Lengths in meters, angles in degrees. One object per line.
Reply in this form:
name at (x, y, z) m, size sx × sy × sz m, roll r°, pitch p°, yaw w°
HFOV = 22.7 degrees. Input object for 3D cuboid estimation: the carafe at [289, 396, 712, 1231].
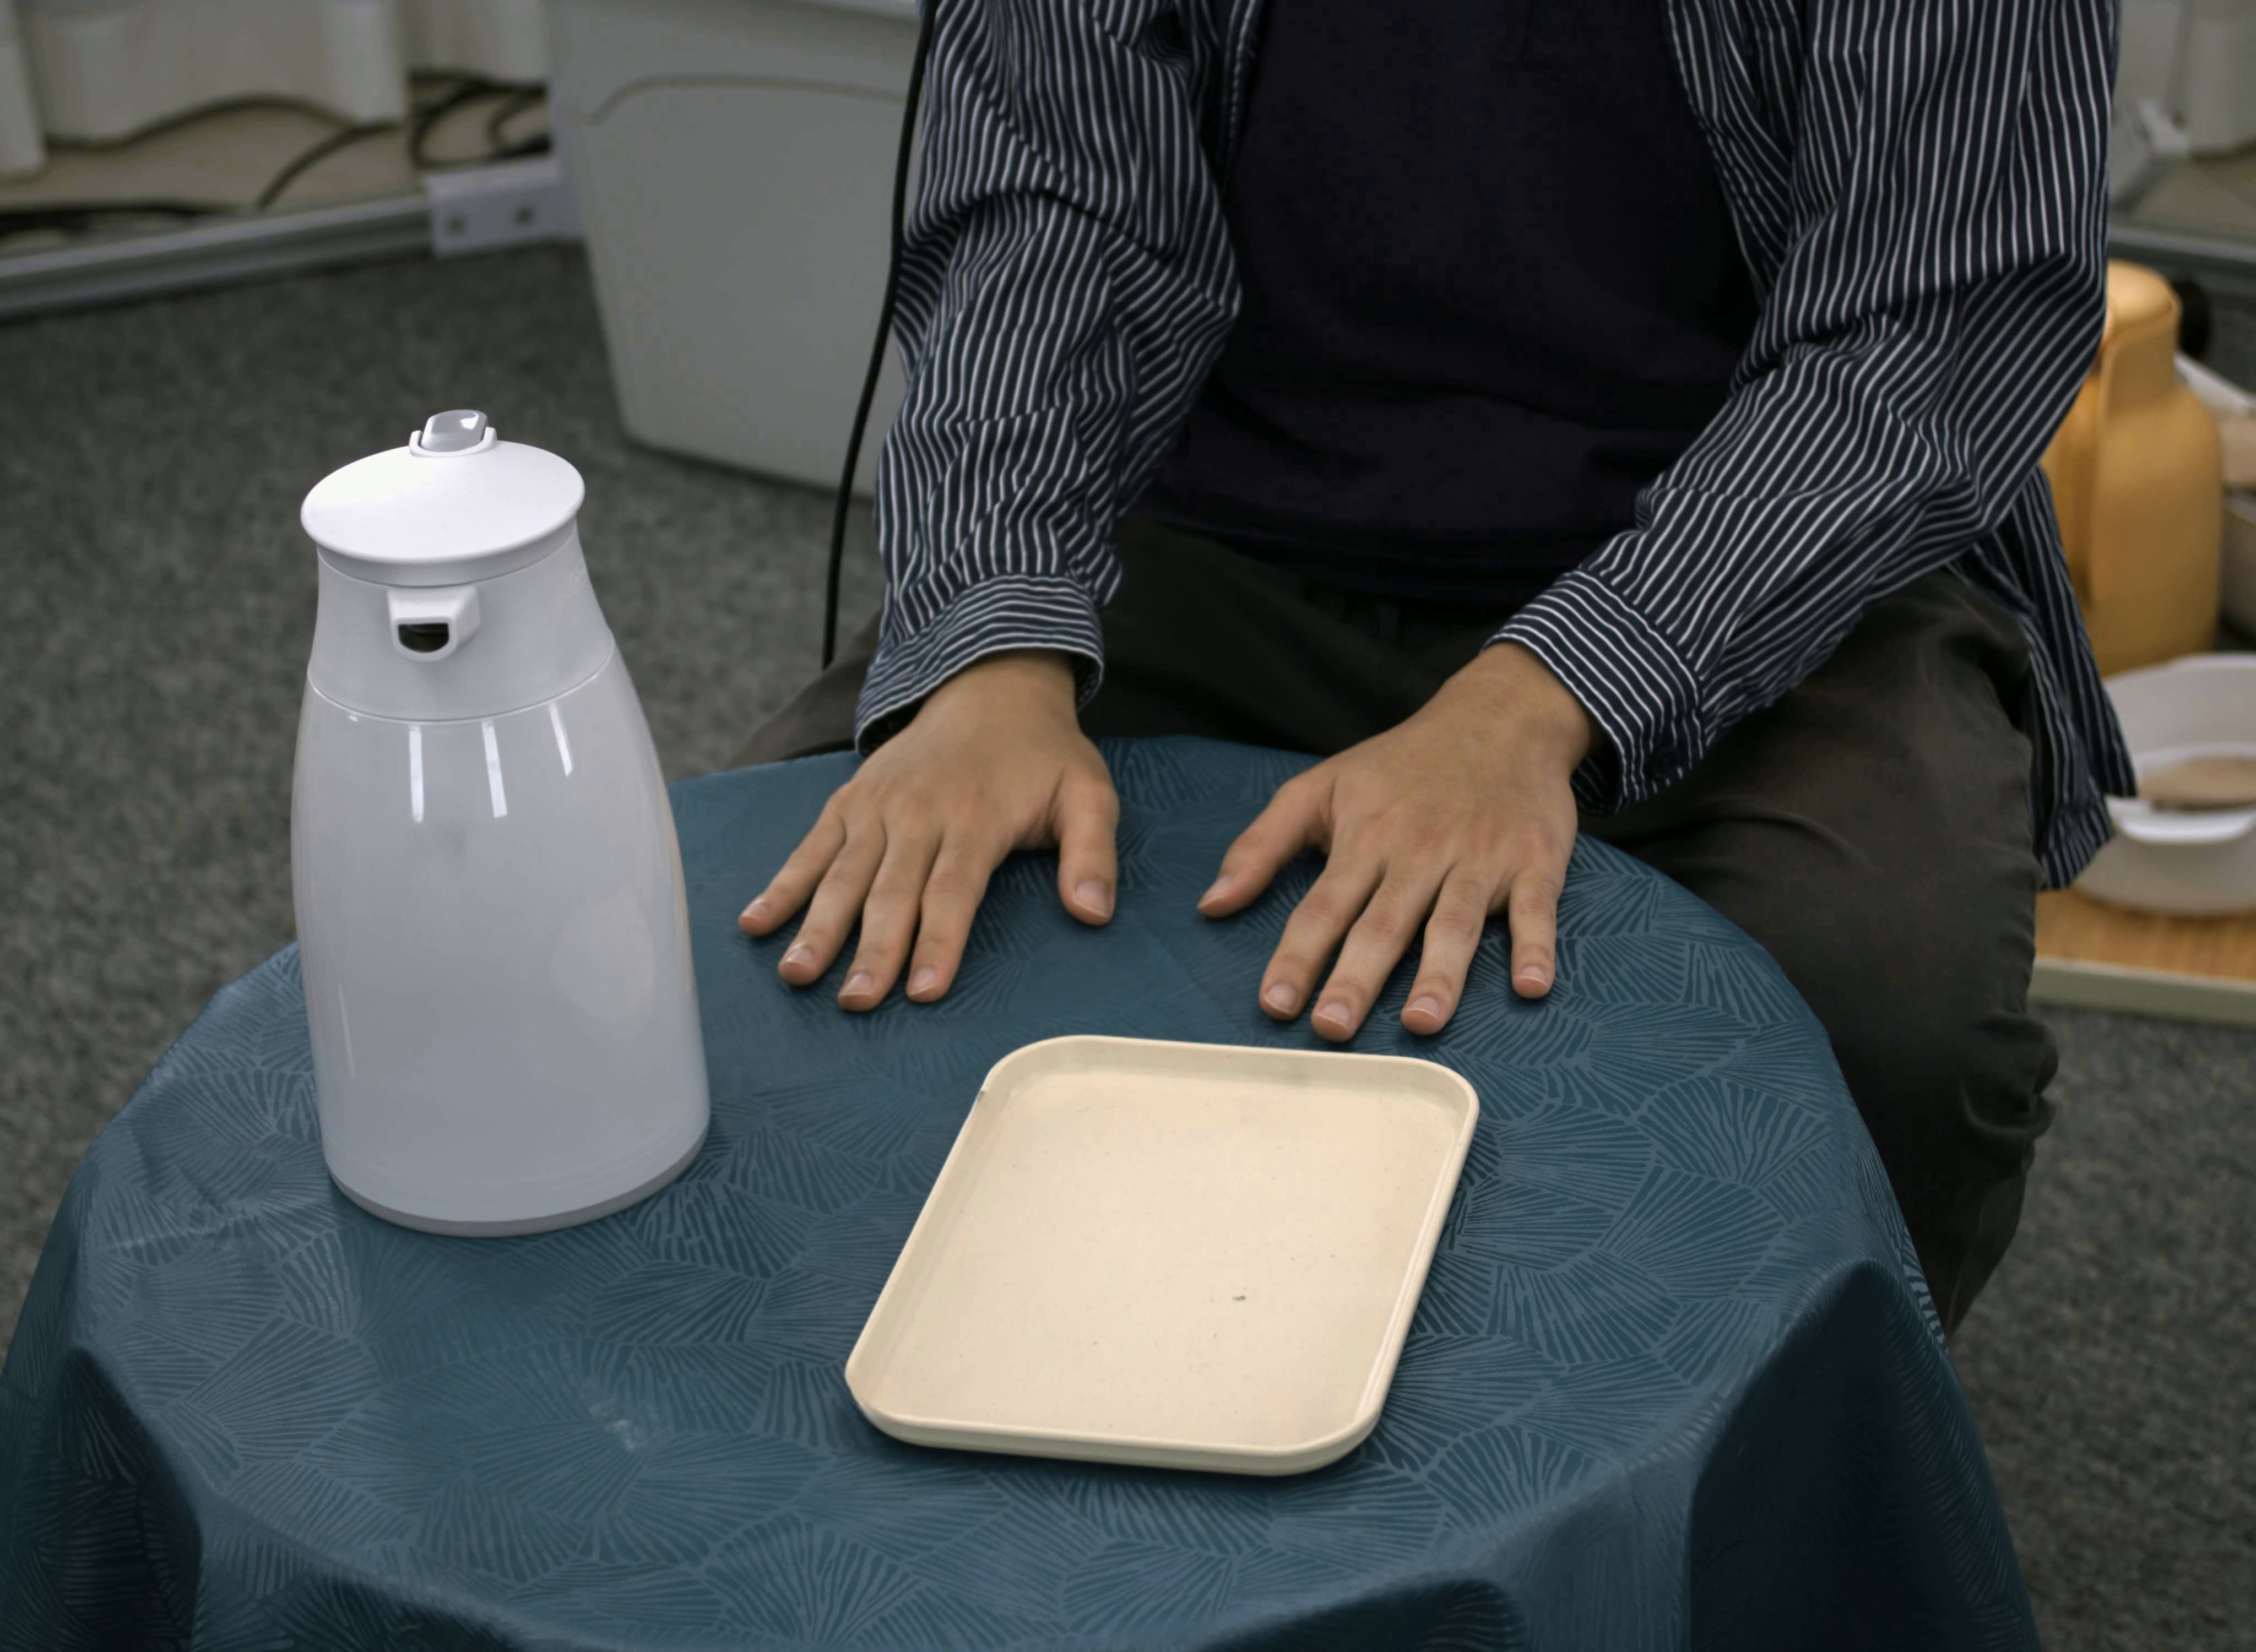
carafe at (-0.216, -0.014, 1.870) m, size 0.132 × 0.246 × 0.170 m, roll -5°, pitch 25°, yaw -2°

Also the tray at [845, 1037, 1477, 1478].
tray at (0.014, 0.137, 1.805) m, size 0.170 × 0.017 × 0.244 m, roll 4°, pitch 28°, yaw 12°
